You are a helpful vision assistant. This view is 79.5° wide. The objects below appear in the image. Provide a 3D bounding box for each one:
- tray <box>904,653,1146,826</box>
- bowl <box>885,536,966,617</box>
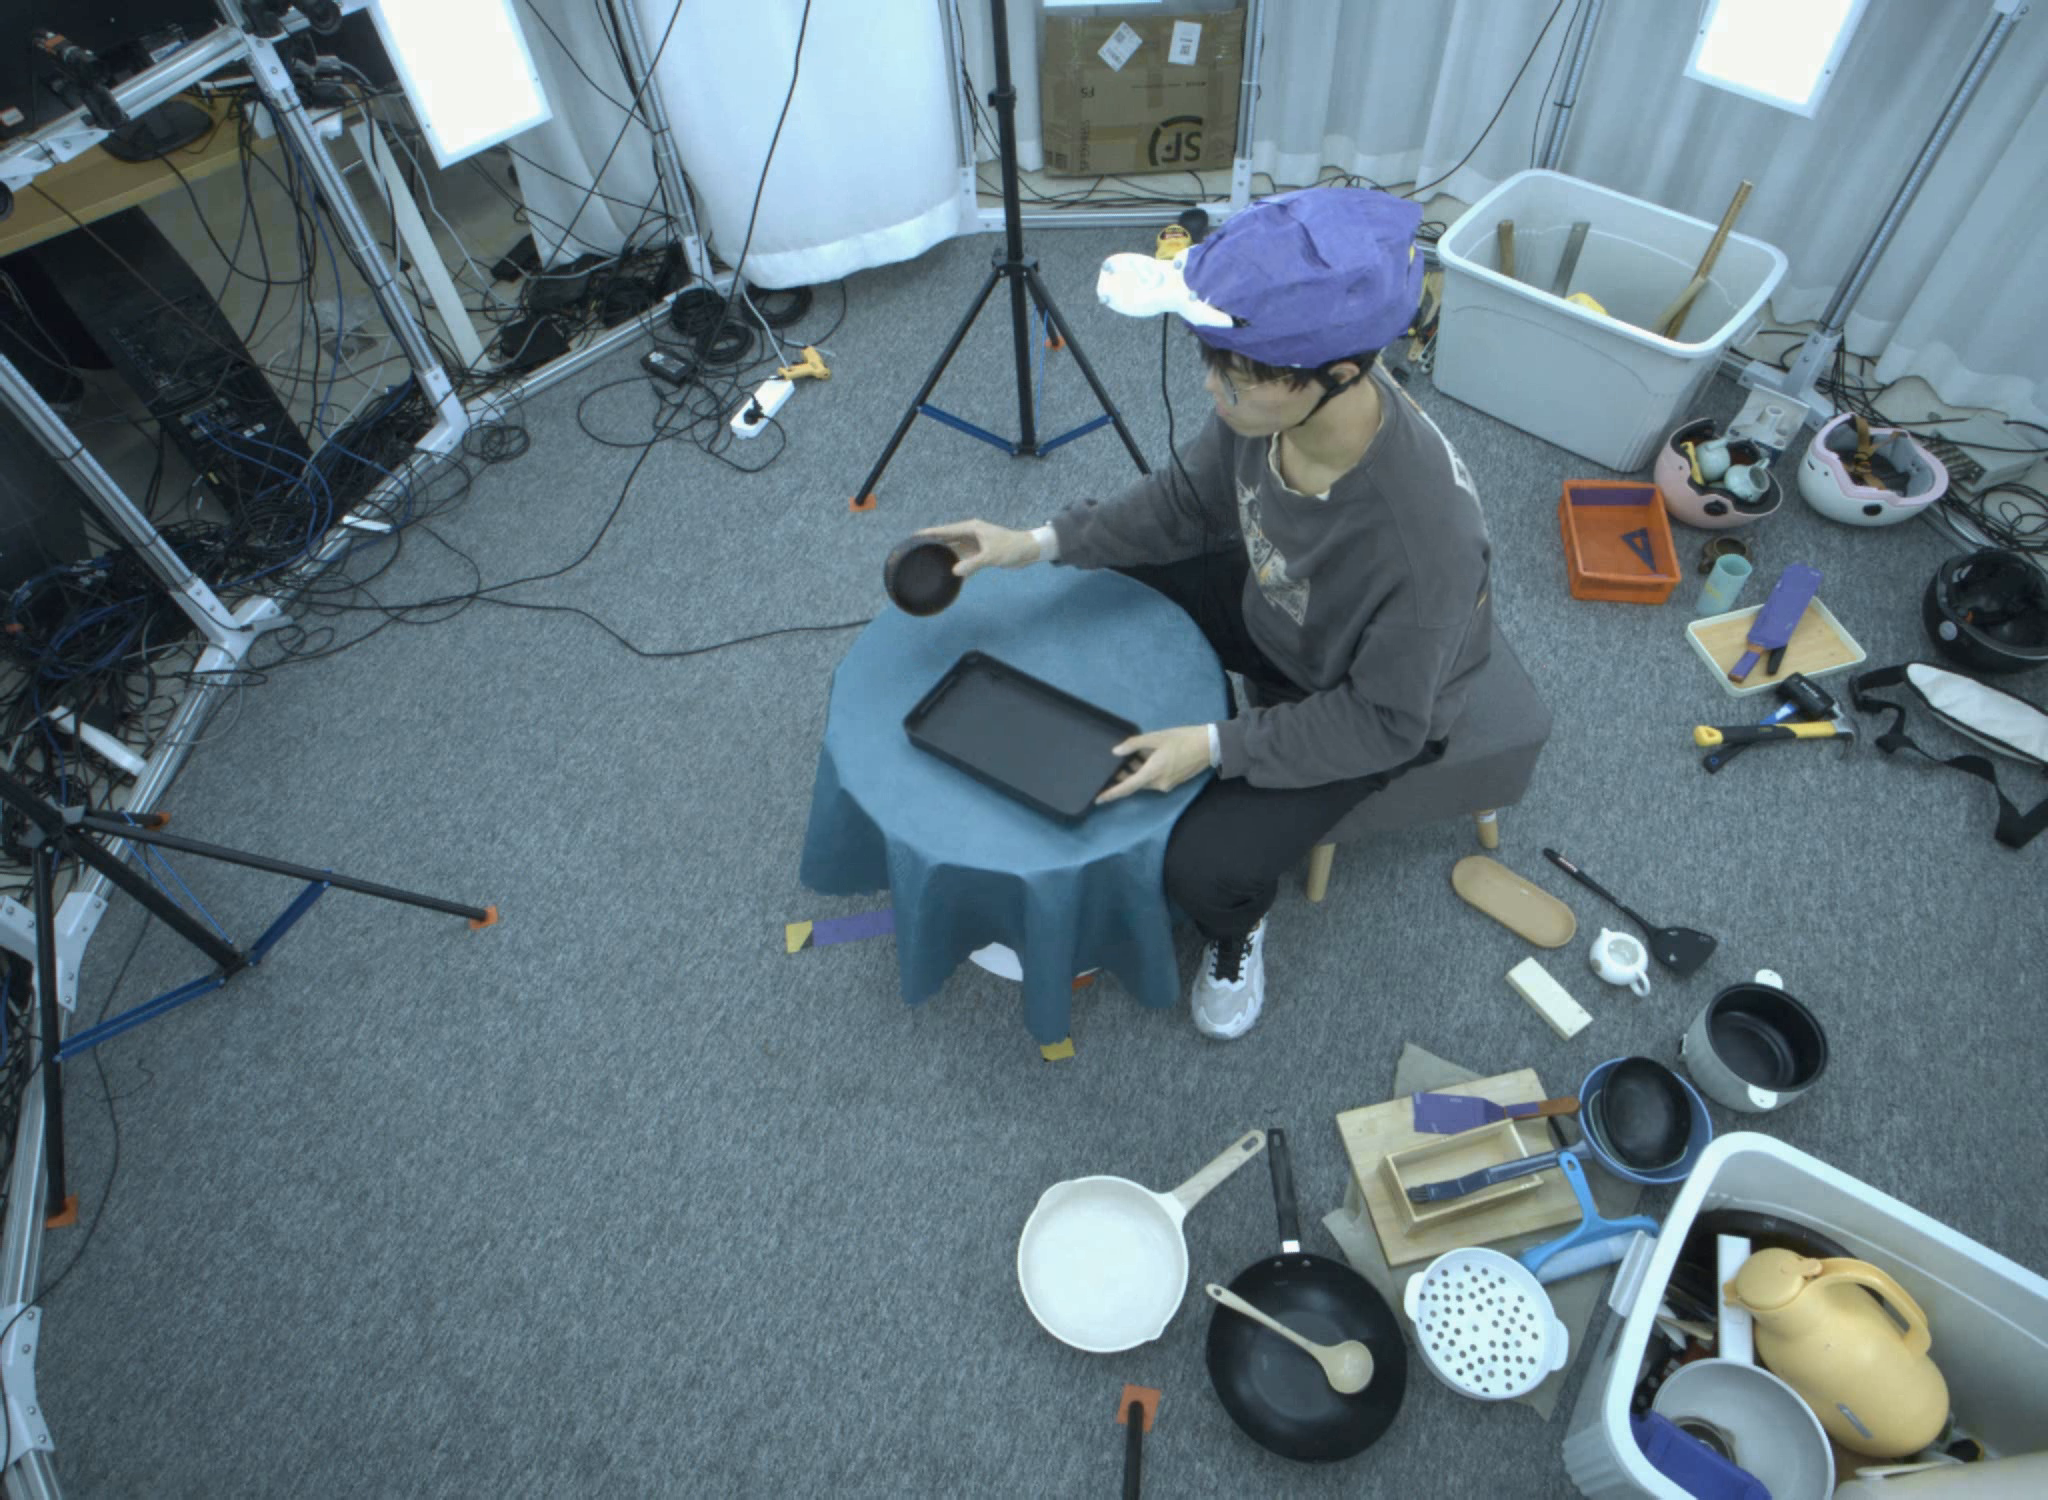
[{"bbox_3d":[0.001,-0.020,1.769,0.313,0.037,0.185,25,58,22],"label":"tray"},{"bbox_3d":[-0.153,-0.262,1.815,0.119,0.120,0.068,-28,37,-16],"label":"bowl"}]
